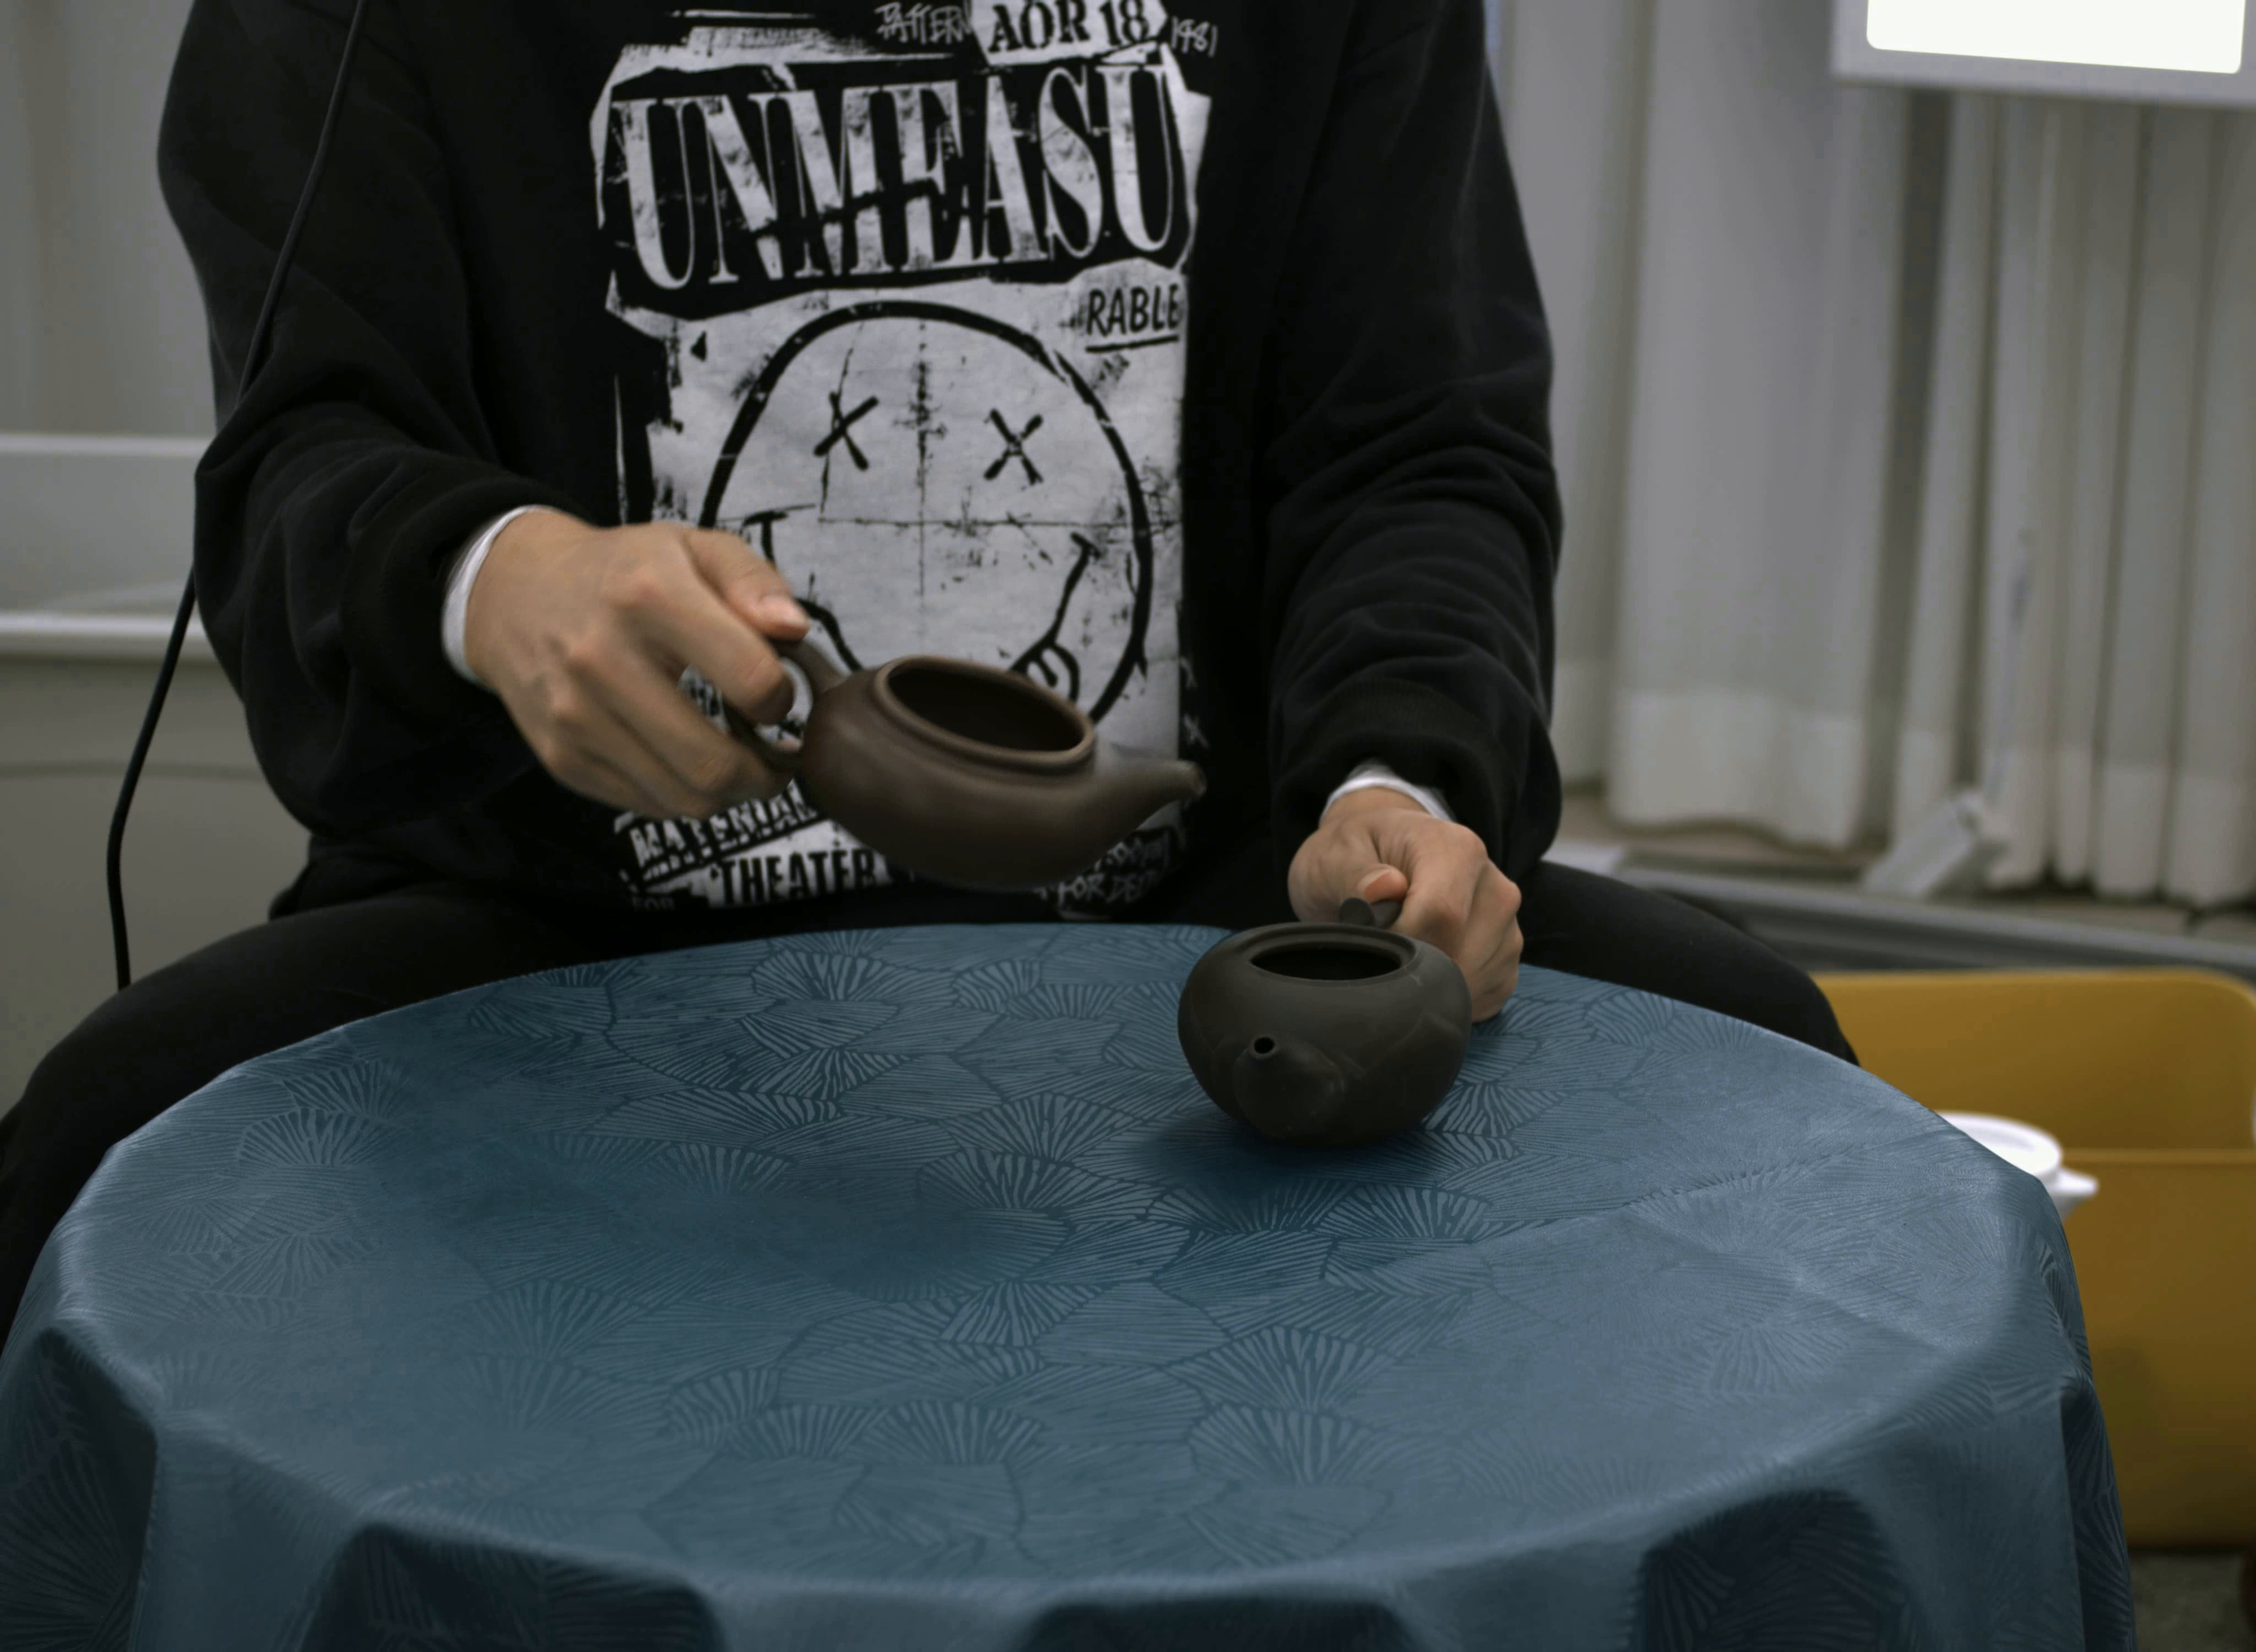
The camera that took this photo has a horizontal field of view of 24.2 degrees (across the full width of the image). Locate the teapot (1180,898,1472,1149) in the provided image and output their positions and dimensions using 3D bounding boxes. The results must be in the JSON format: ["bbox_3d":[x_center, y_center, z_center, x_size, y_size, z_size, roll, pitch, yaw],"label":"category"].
[{"bbox_3d":[0.064,0.063,1.675,0.091,0.065,0.154,10,21,17],"label":"teapot"}]

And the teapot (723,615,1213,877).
[{"bbox_3d":[-0.052,-0.023,1.617,0.153,0.054,0.102,20,19,0],"label":"teapot"}]
